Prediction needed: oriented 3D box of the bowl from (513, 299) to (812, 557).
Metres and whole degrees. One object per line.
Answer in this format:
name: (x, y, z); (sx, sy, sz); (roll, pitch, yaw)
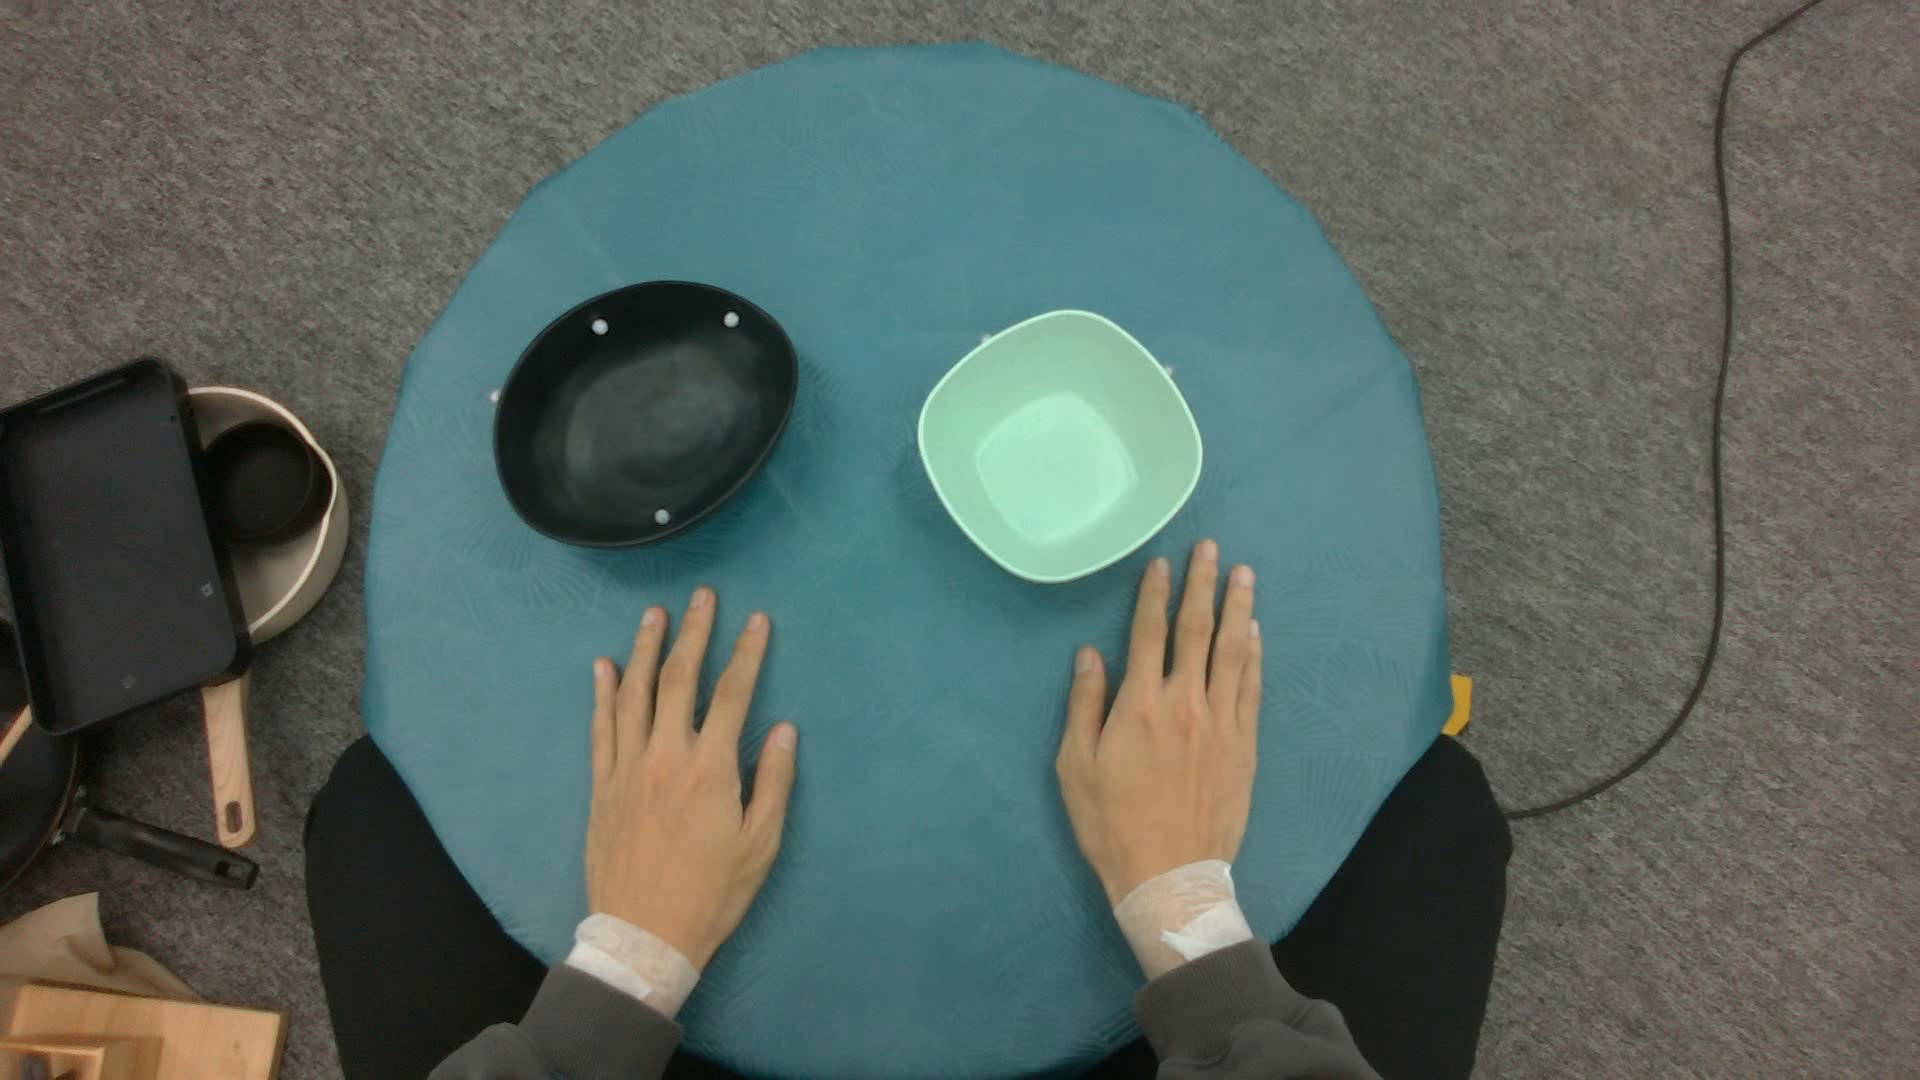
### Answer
bowl: (-0.161, -0.058, 0.768); (0.170, 0.066, 0.137); (-37, 78, -9)

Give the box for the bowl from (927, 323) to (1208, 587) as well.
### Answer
bowl: (0.058, -0.040, 0.761); (0.151, 0.058, 0.152); (-1, 73, 2)
